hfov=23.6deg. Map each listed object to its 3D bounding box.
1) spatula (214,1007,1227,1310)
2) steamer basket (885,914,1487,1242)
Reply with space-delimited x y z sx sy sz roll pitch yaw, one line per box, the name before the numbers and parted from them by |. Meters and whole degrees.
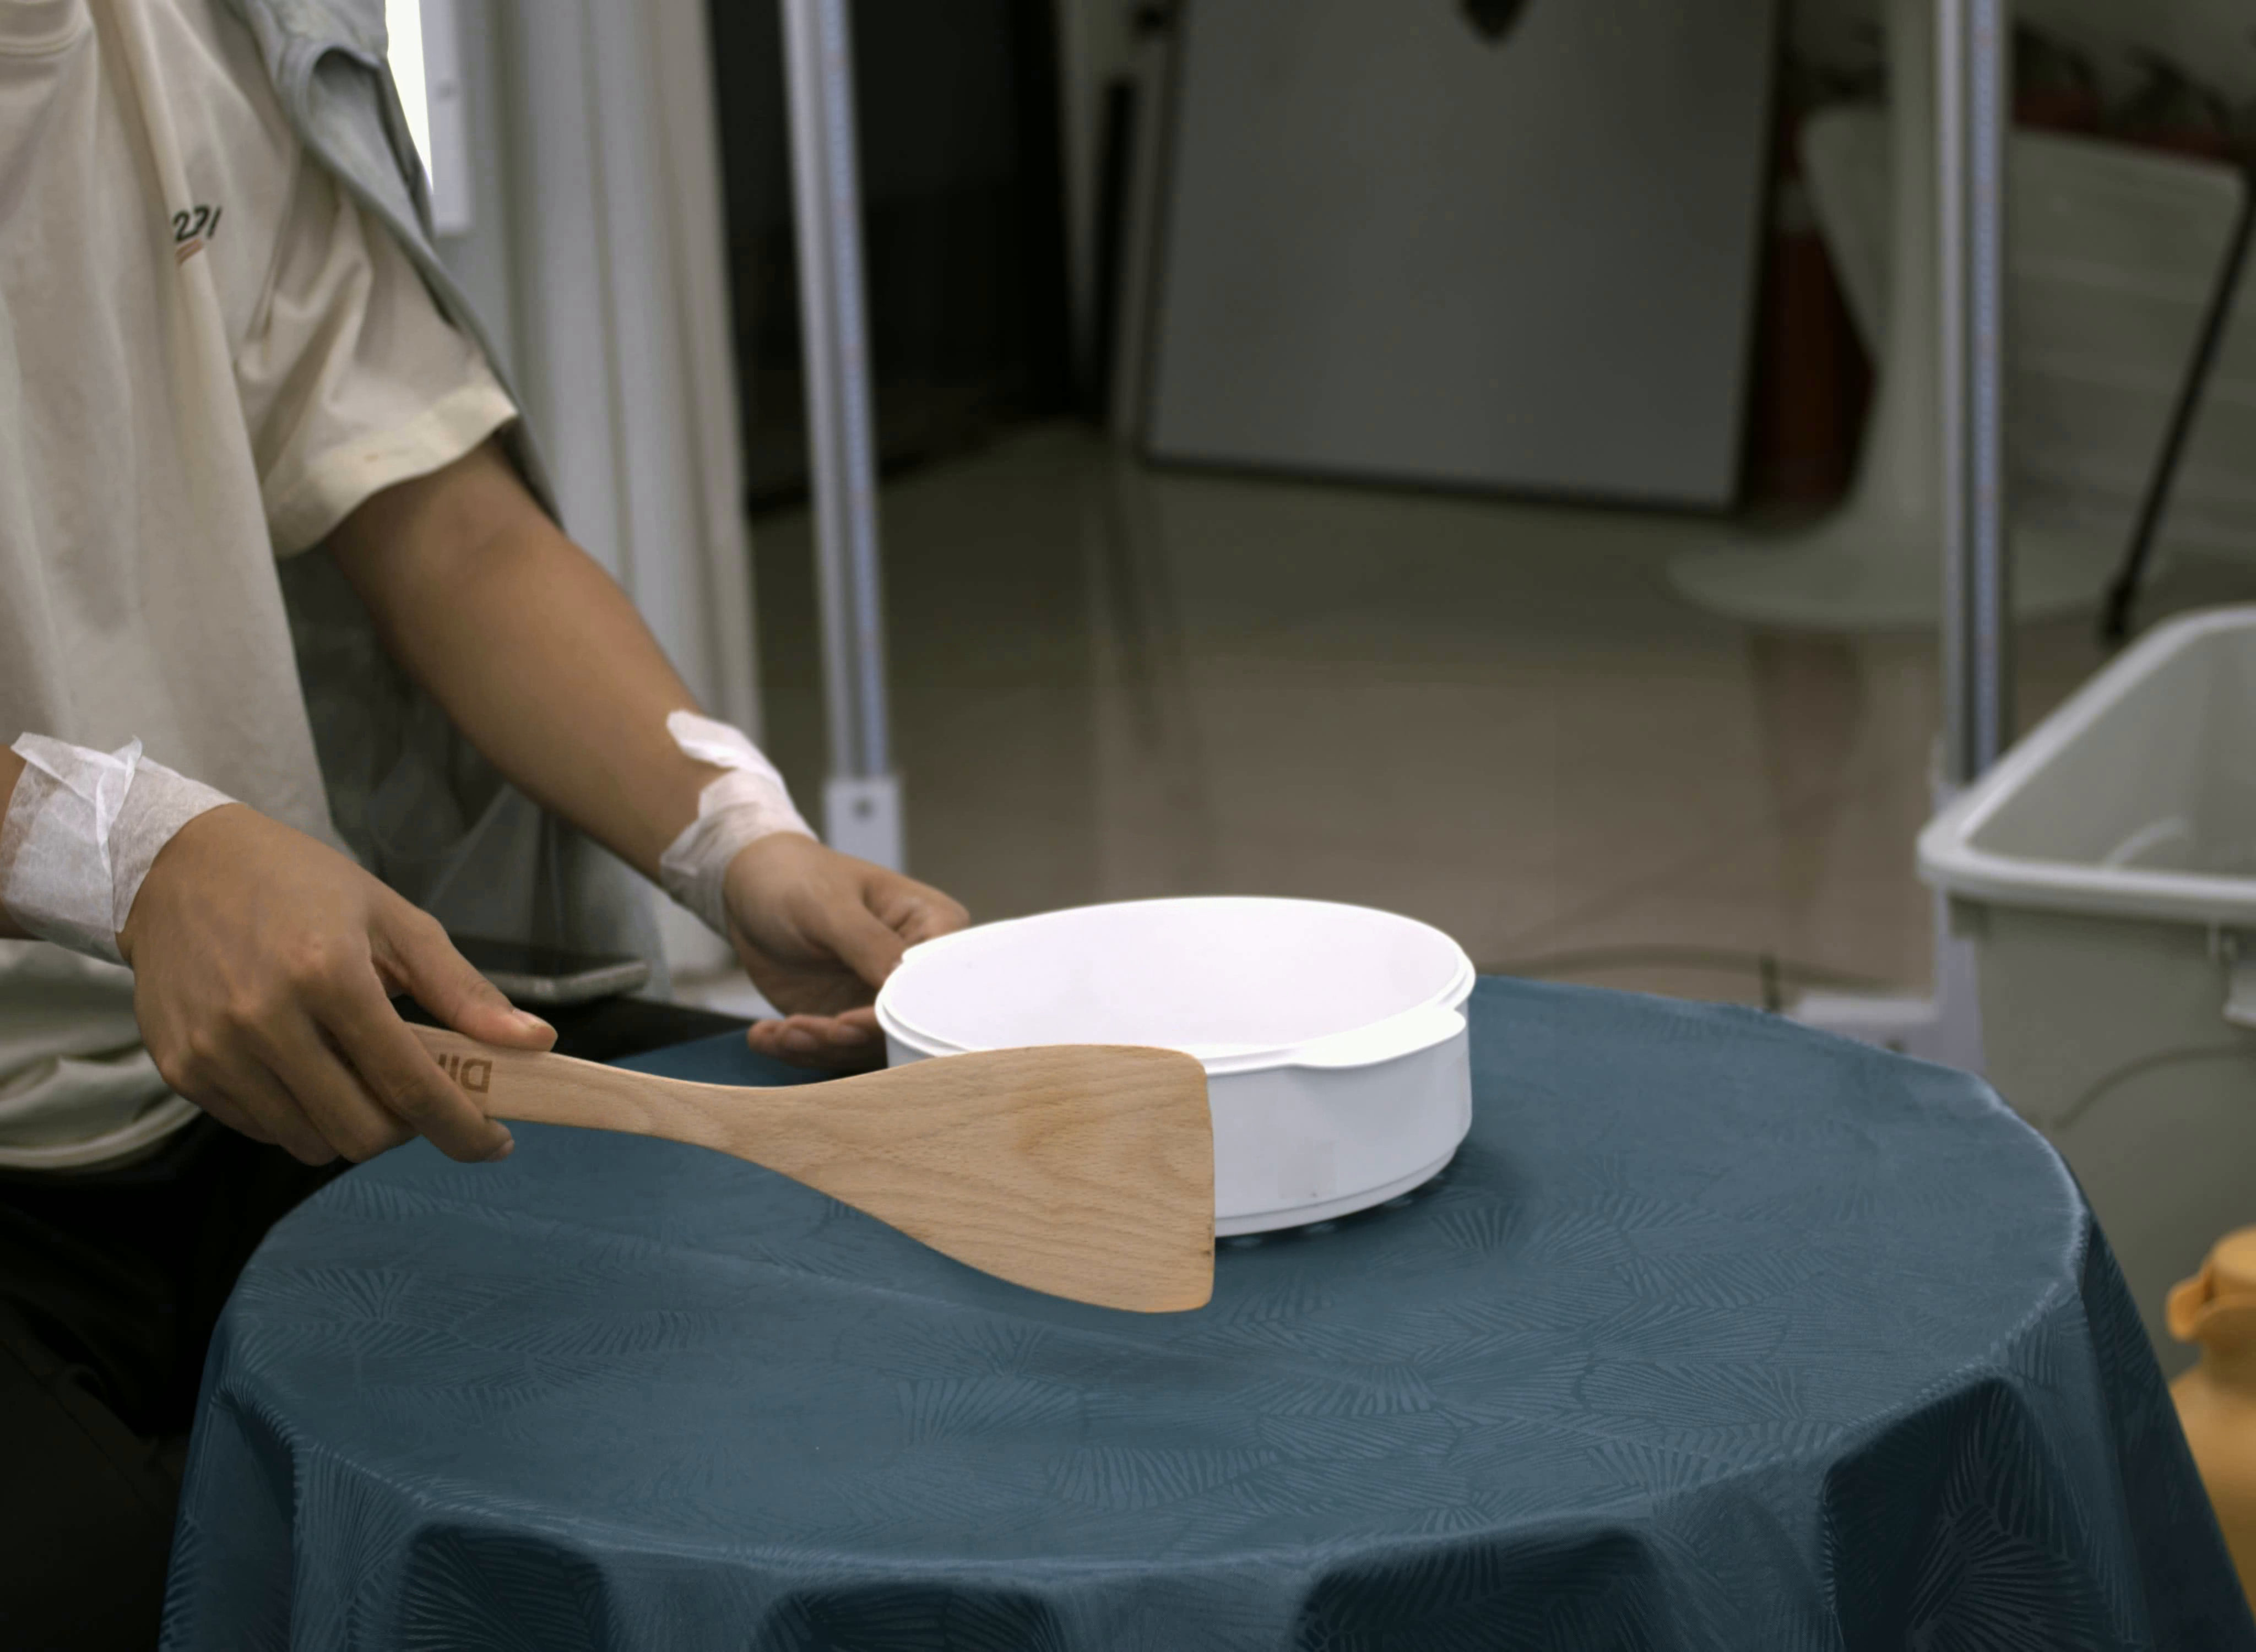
spatula | -0.122 0.085 1.614 0.326 0.081 0.016 7 -6 14
steamer basket | 0.021 0.084 1.784 0.197 0.070 0.233 -14 16 -39
